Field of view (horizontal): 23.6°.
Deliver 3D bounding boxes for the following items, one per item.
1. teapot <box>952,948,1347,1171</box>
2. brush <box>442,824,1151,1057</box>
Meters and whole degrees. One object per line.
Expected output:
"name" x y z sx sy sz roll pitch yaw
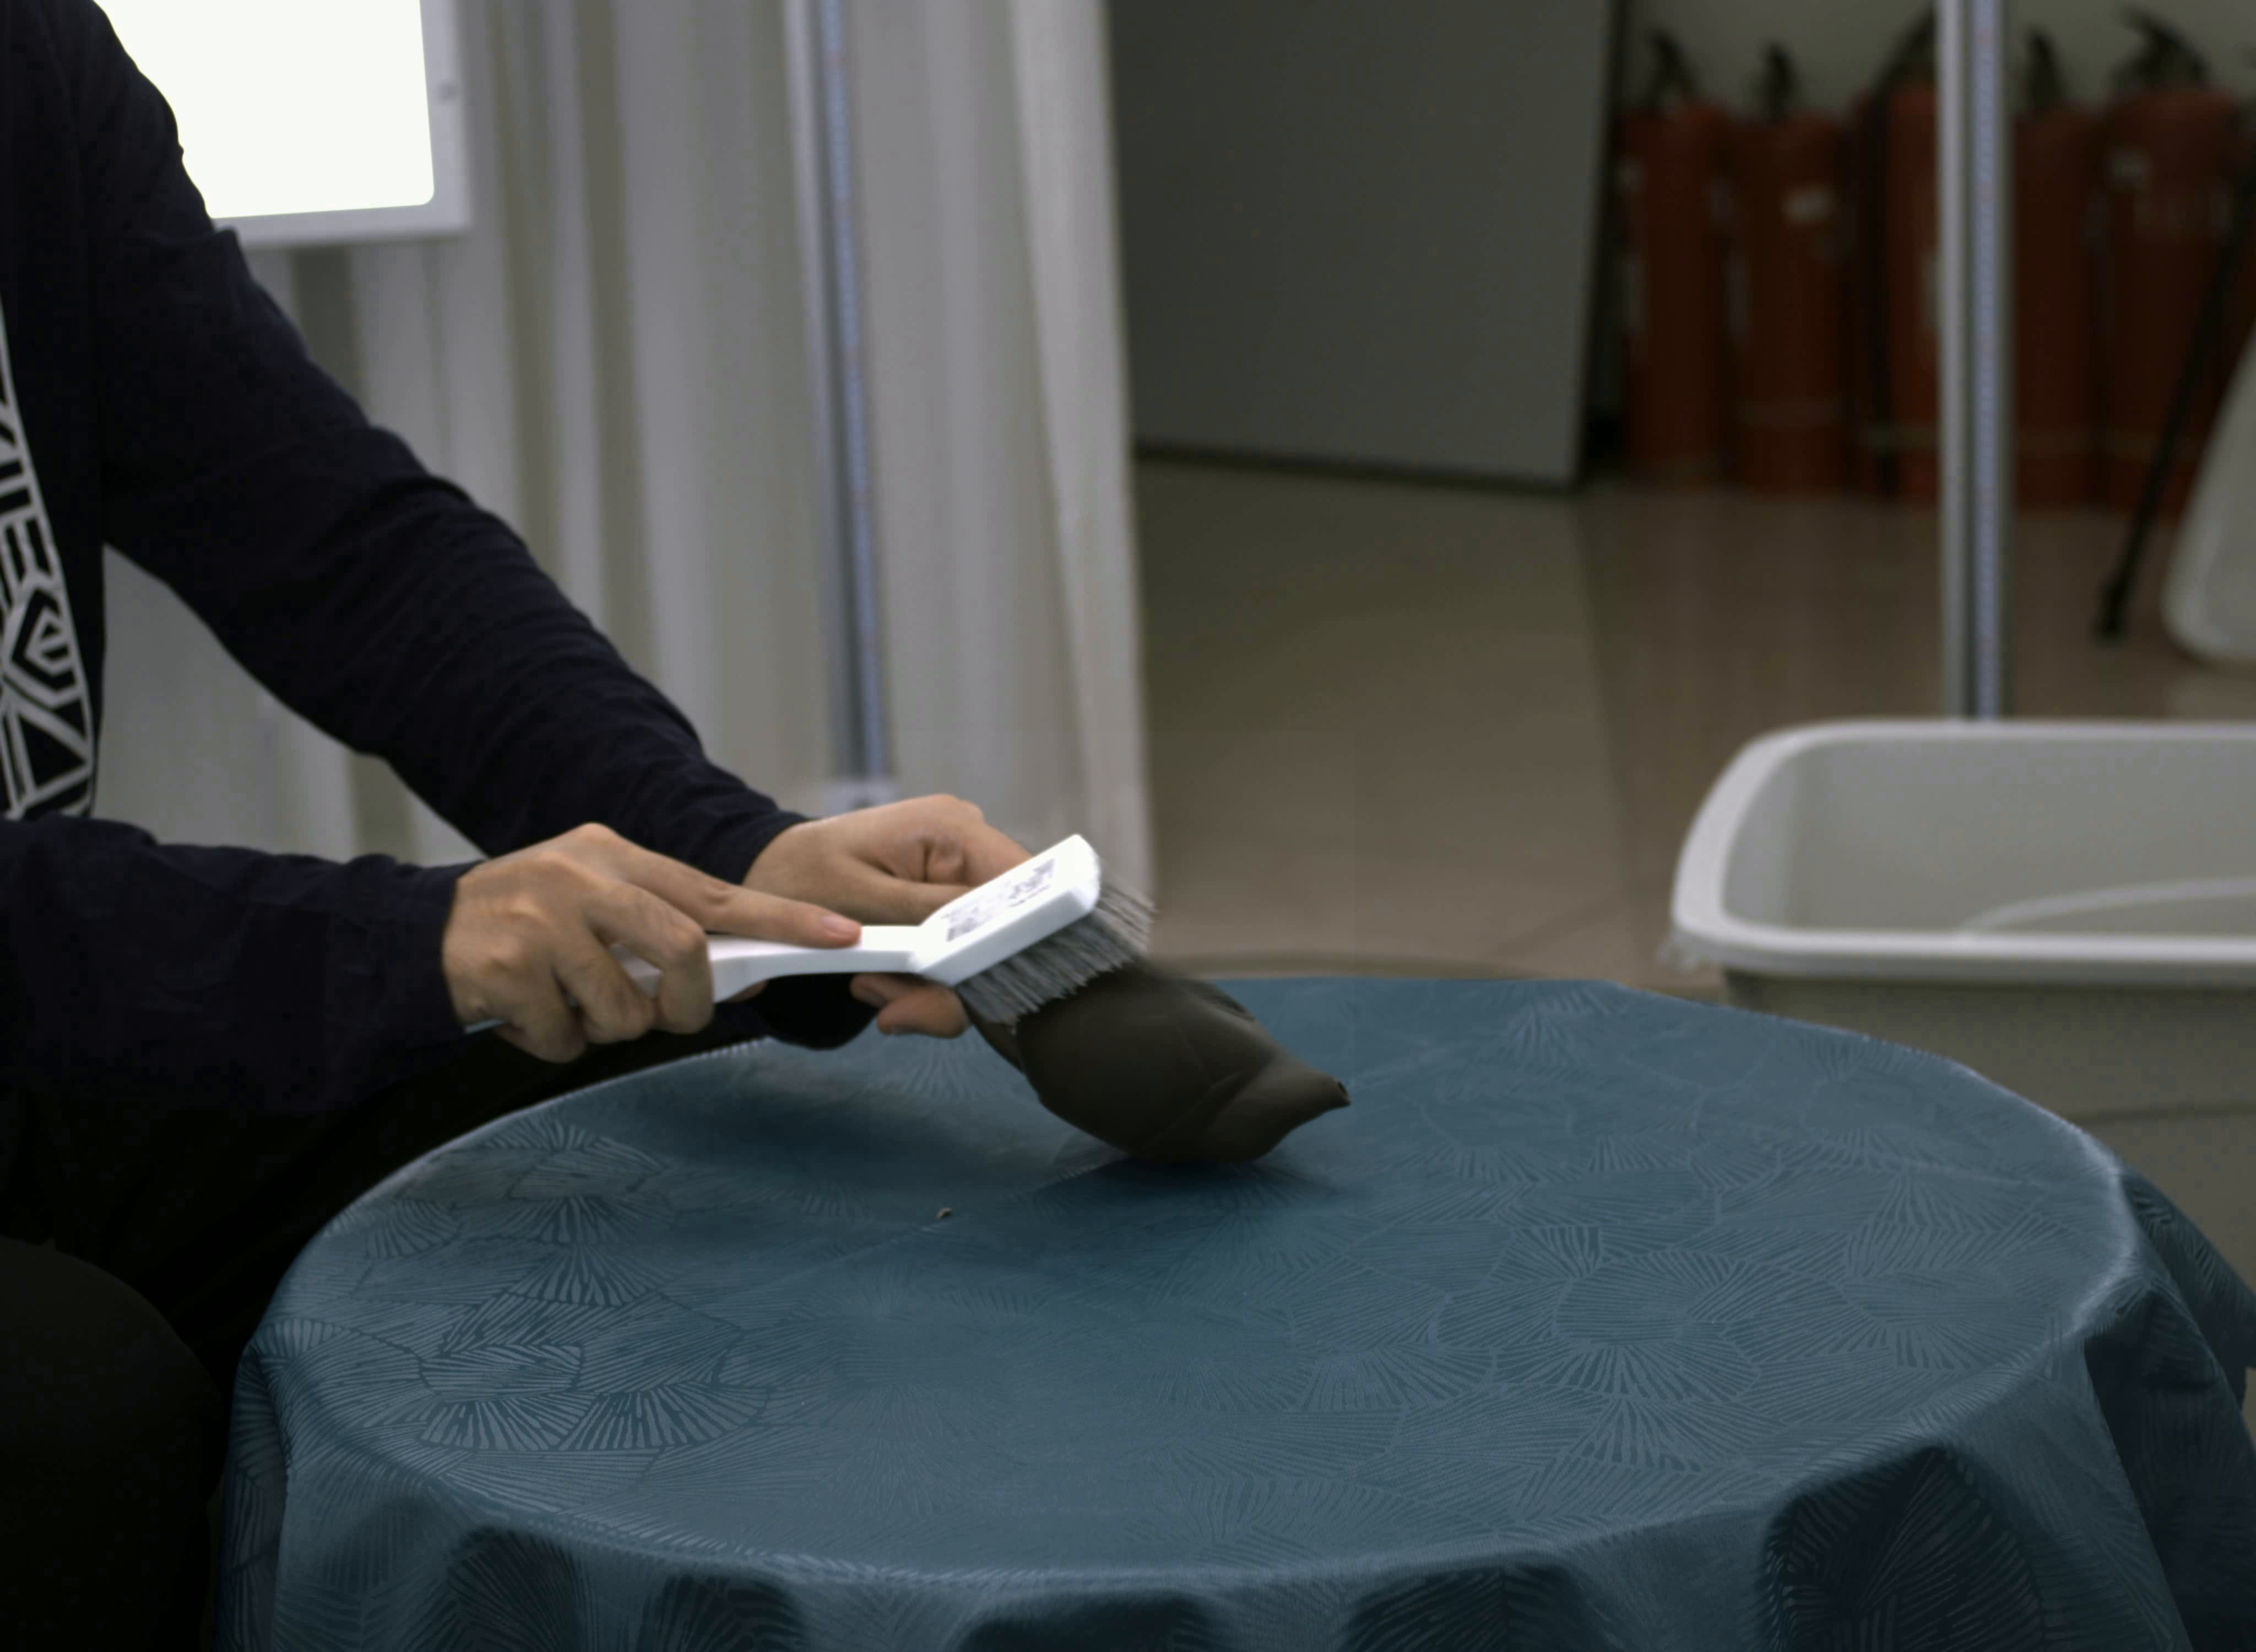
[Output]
"teapot" 0.003 0.075 1.799 0.155 0.065 0.091 27 4 27
"brush" -0.108 0.053 1.779 0.242 0.050 0.034 -15 36 14
